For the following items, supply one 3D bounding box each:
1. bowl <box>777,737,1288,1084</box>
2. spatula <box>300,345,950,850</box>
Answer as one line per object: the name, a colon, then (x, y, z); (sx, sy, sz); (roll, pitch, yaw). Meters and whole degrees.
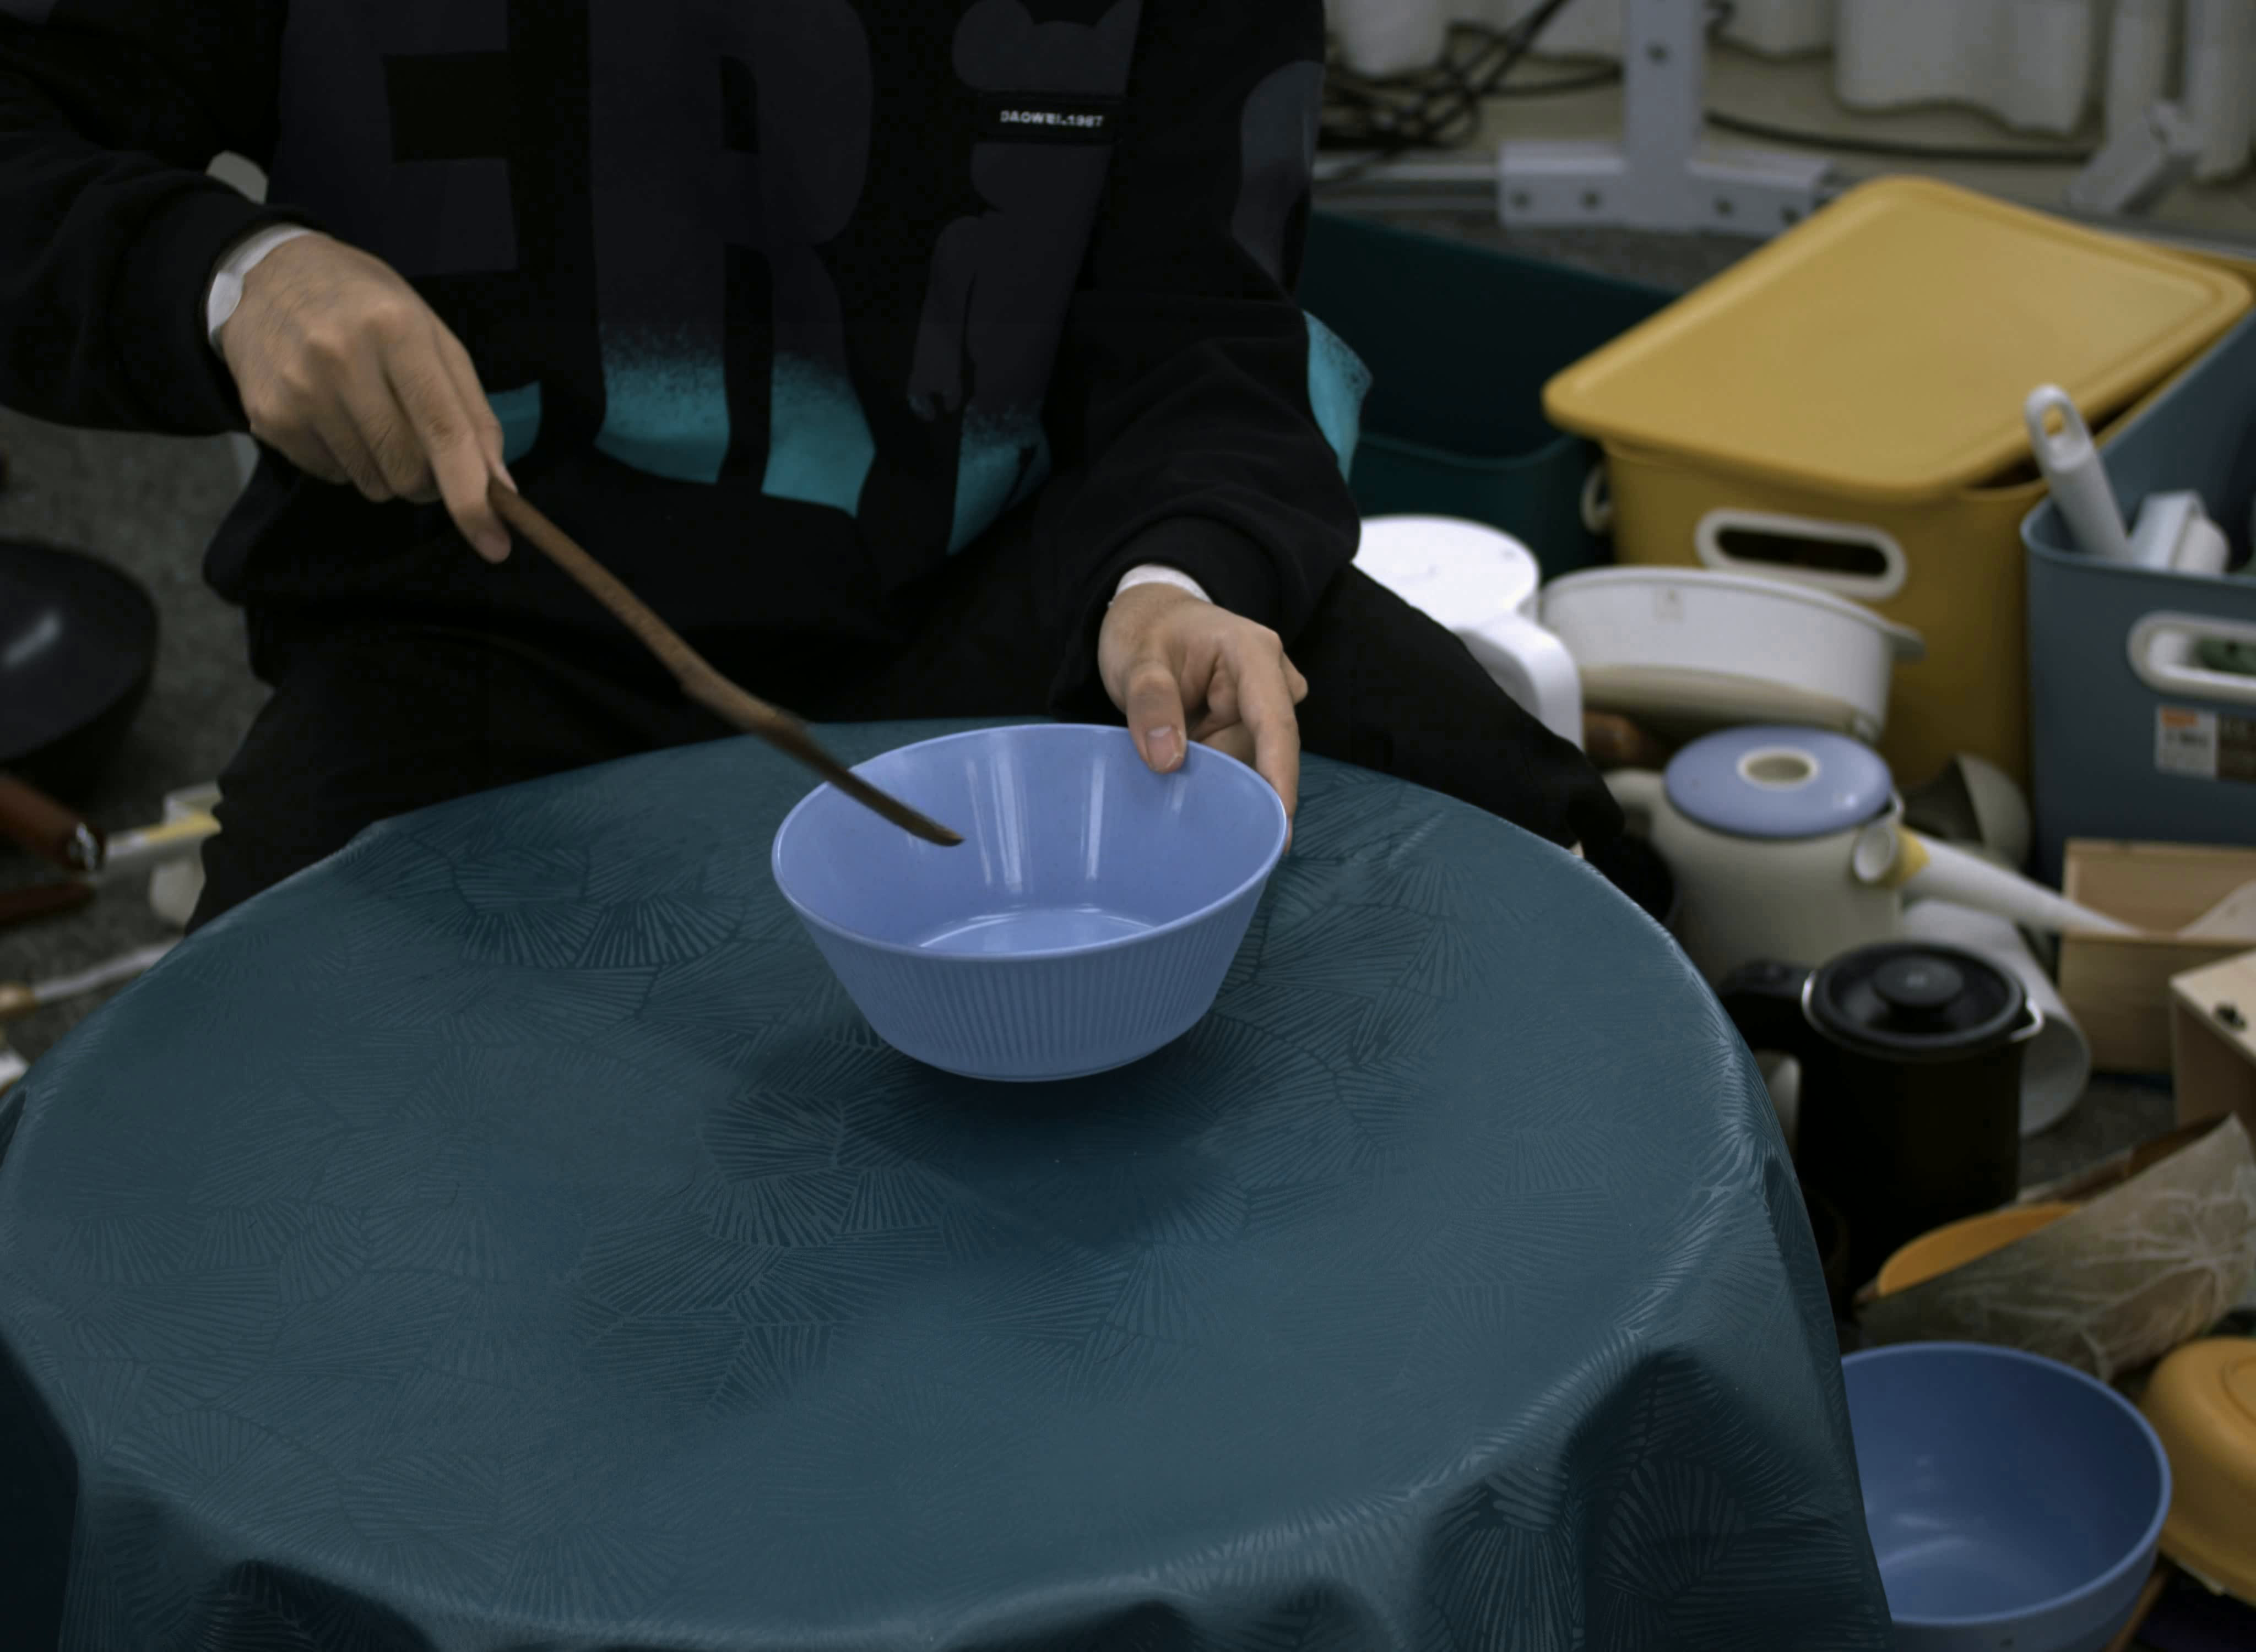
bowl: (-0.030, 0.034, 1.920); (0.175, 0.069, 0.178); (-3, 24, 2)
spatula: (-0.187, -0.086, 1.915); (0.095, 0.016, 0.388); (32, 5, -45)
